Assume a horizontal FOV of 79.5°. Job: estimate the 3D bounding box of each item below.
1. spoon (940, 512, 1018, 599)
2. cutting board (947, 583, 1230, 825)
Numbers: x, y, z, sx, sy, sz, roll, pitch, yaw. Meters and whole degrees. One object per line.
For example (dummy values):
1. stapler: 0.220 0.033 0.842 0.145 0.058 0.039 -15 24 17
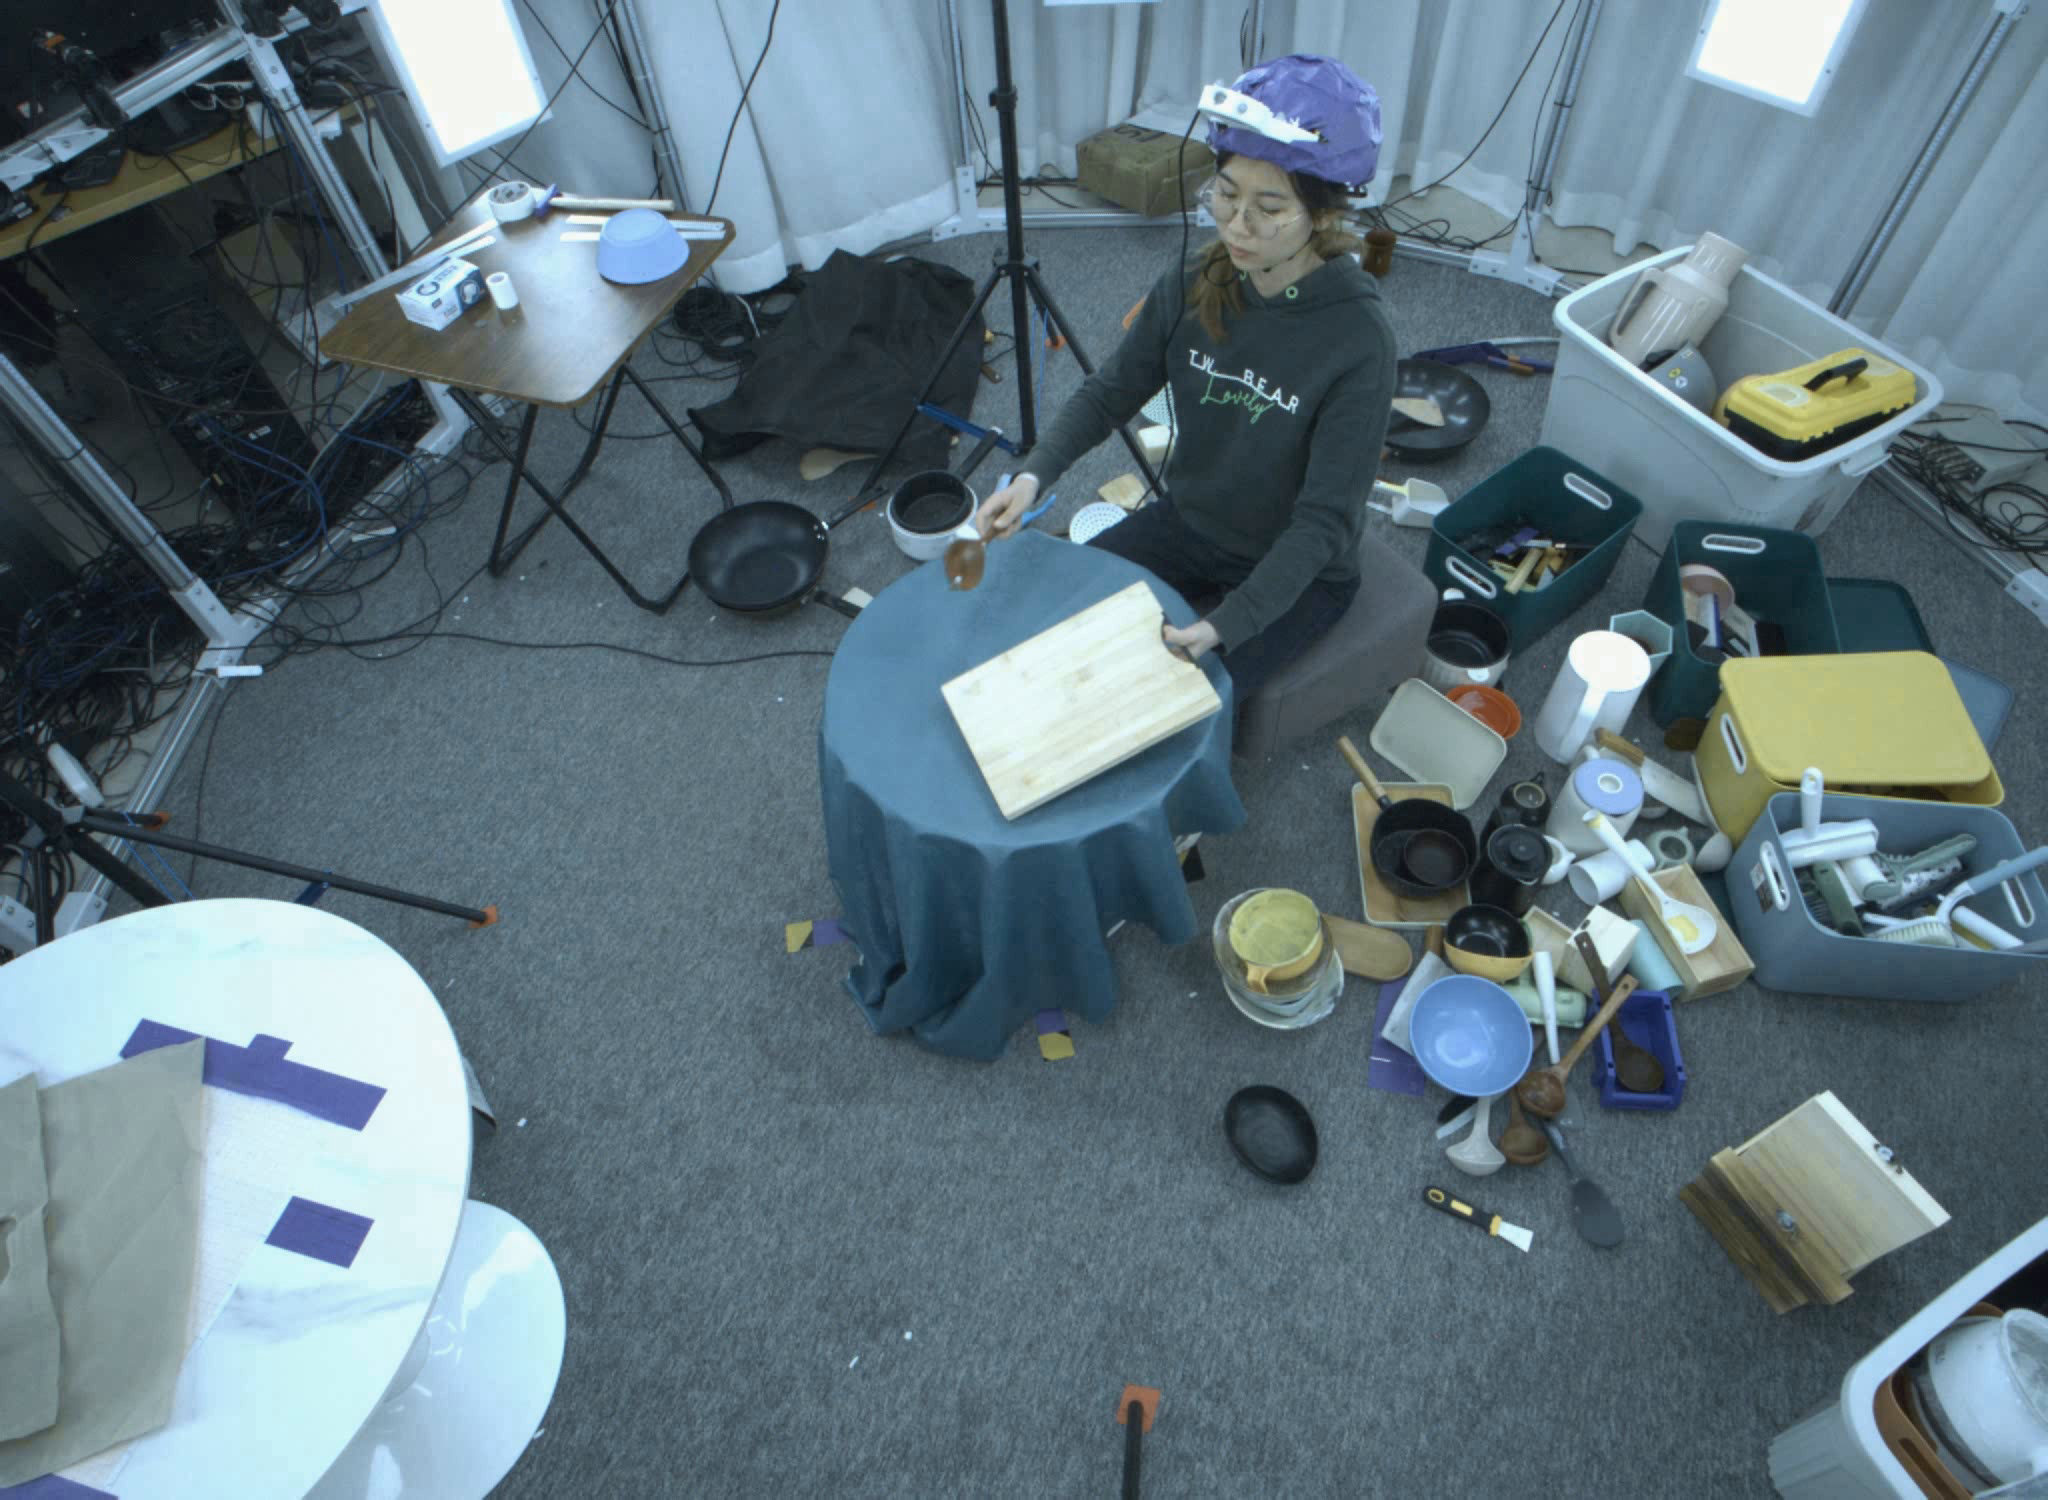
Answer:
1. spoon: -0.064 -0.296 1.827 0.017 0.076 0.216 -17 27 43
2. cutting board: 0.085 -0.071 1.770 0.349 0.024 0.247 -29 64 -2
